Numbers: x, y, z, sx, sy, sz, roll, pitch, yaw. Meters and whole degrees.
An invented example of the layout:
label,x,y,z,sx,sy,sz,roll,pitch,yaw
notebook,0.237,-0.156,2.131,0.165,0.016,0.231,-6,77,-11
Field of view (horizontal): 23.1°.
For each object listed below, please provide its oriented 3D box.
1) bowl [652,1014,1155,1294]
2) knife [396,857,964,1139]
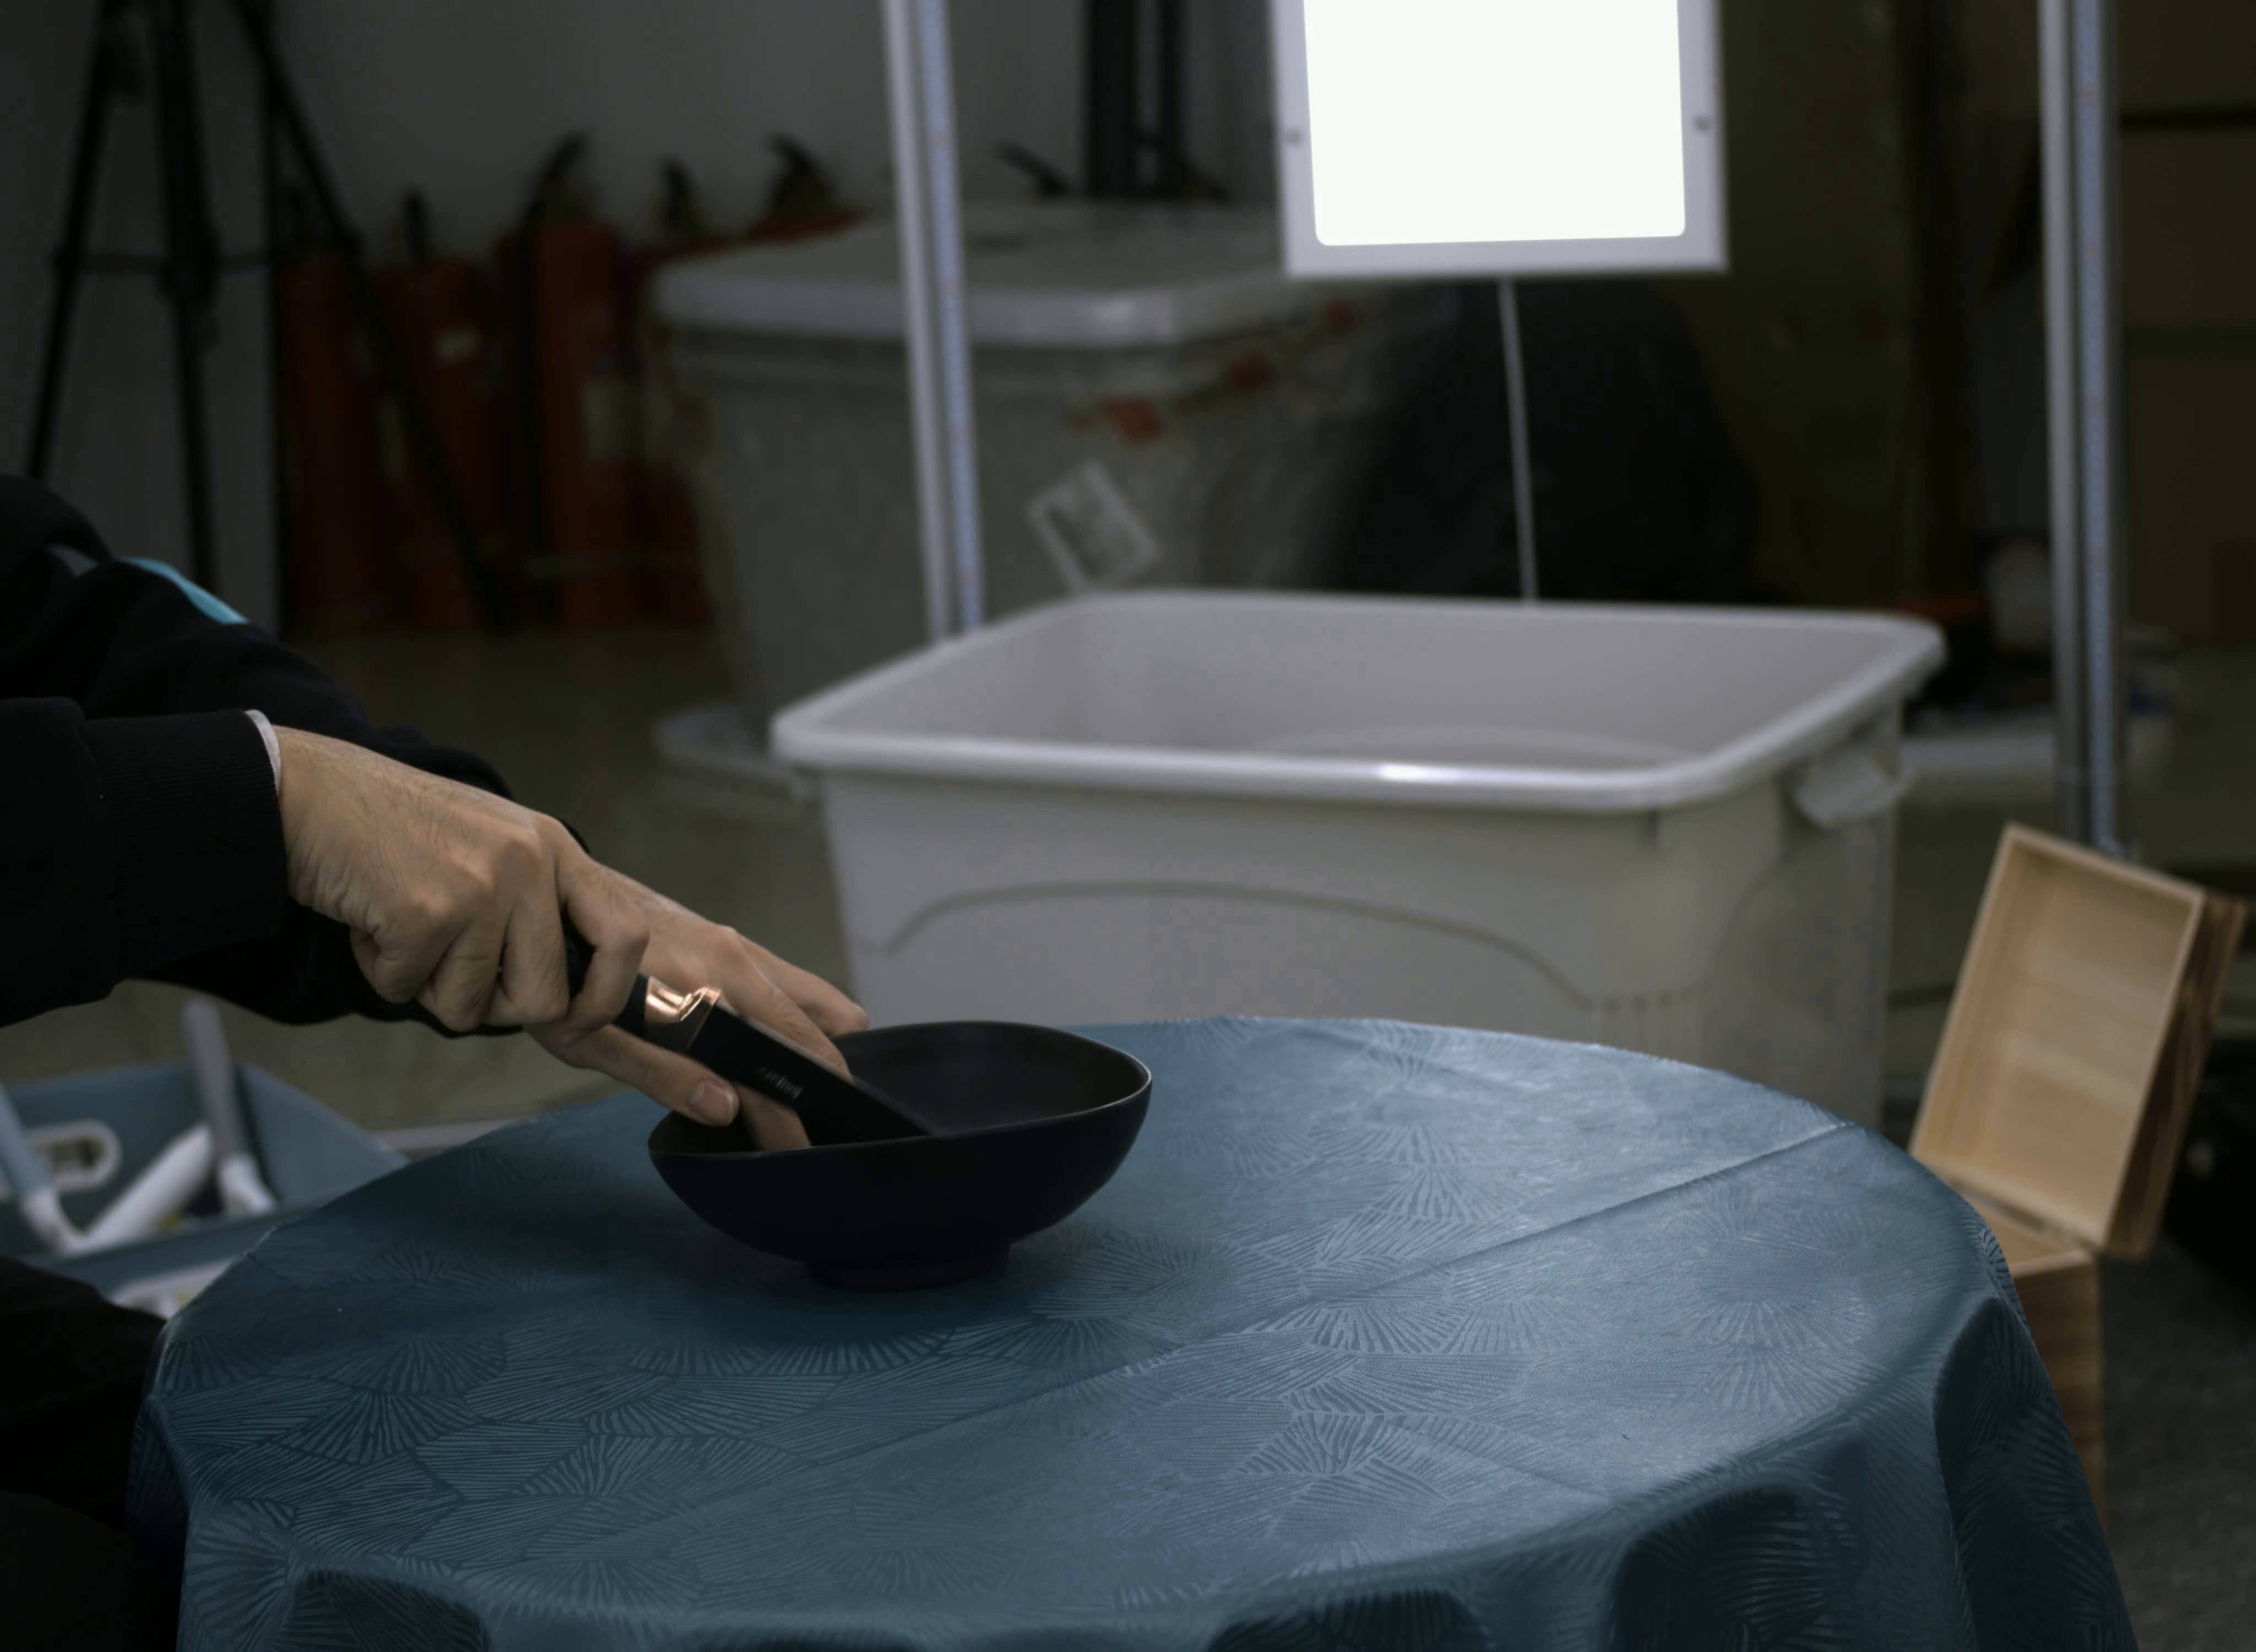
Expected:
label,x,y,z,sx,sy,sz,roll,pitch,yaw
bowl,-0.072,0.115,1.836,0.170,0.067,0.137,-7,14,-1
knife,-0.140,0.067,1.830,0.224,0.026,0.017,28,18,-4
